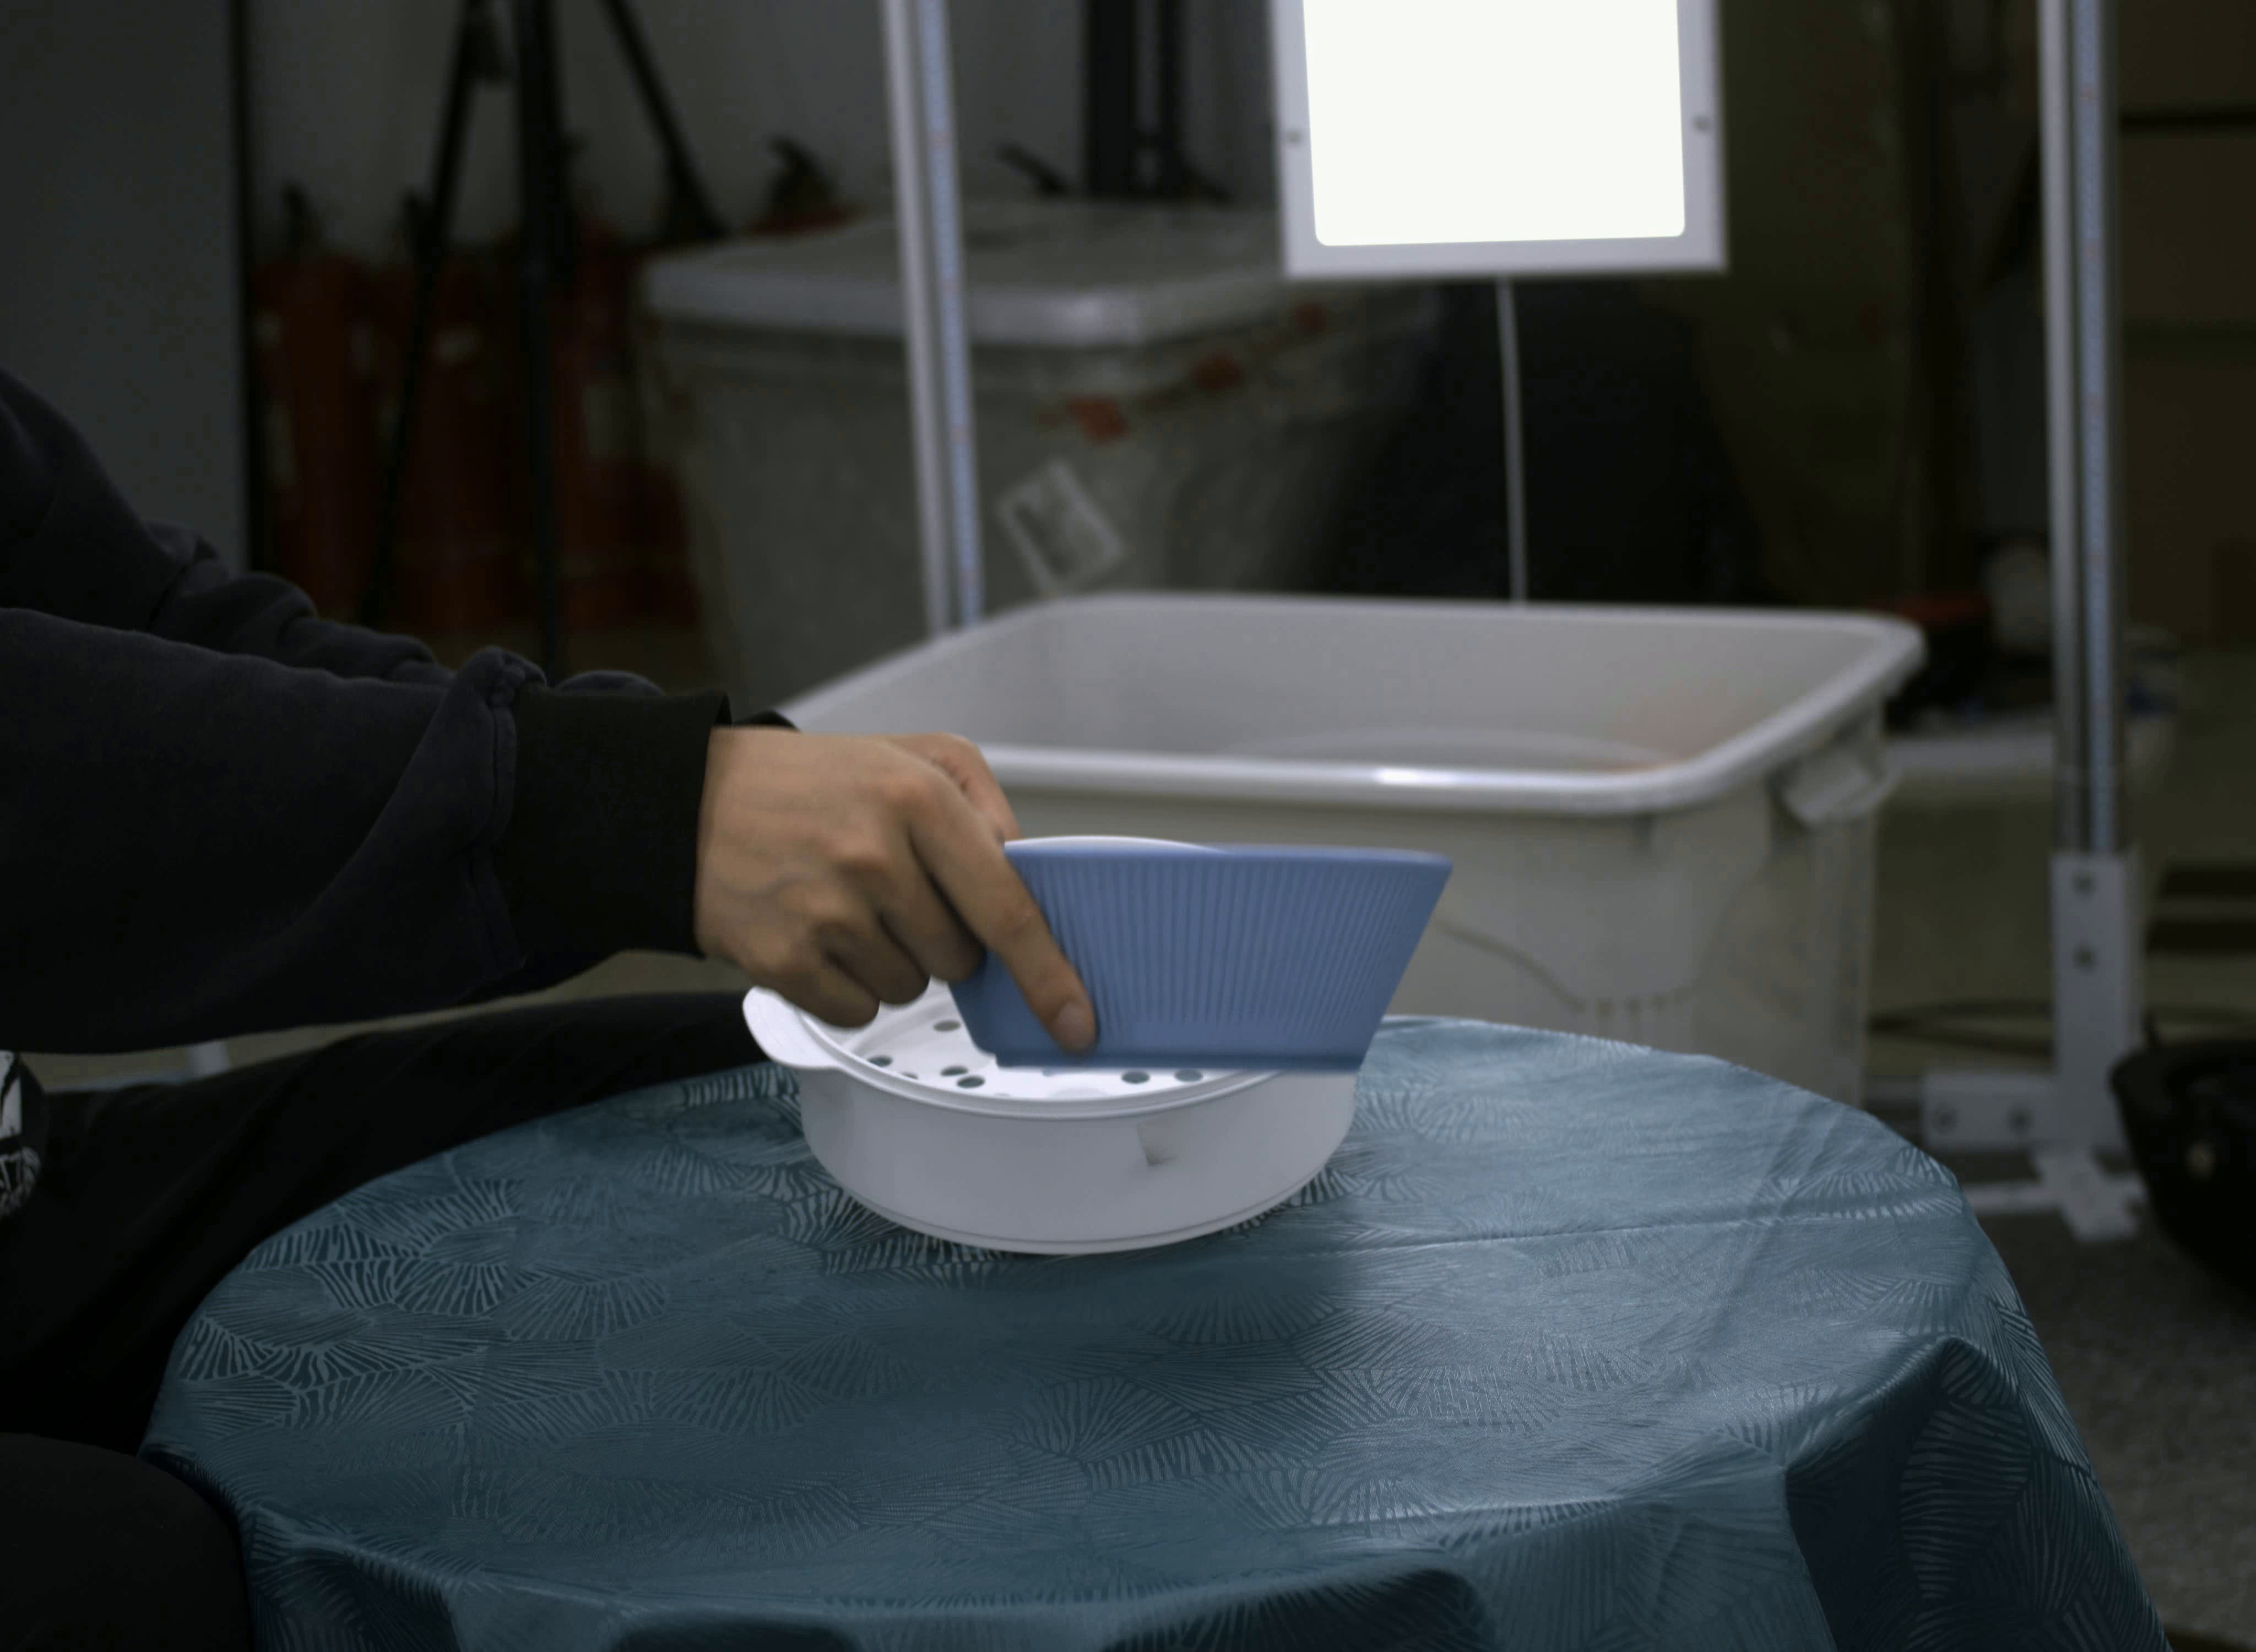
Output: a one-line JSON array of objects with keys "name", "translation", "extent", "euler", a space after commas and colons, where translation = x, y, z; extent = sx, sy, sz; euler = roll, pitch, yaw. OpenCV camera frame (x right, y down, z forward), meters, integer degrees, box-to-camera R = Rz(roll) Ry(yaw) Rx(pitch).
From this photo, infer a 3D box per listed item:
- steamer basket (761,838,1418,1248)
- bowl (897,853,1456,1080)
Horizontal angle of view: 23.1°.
[{"name": "steamer basket", "translation": [-0.012, 0.074, 1.906], "extent": [0.227, 0.069, 0.204], "euler": [-7, 26, -15]}, {"name": "bowl", "translation": [0.015, 0.044, 1.710], "extent": [0.175, 0.070, 0.176], "euler": [1, -3, -1]}]
